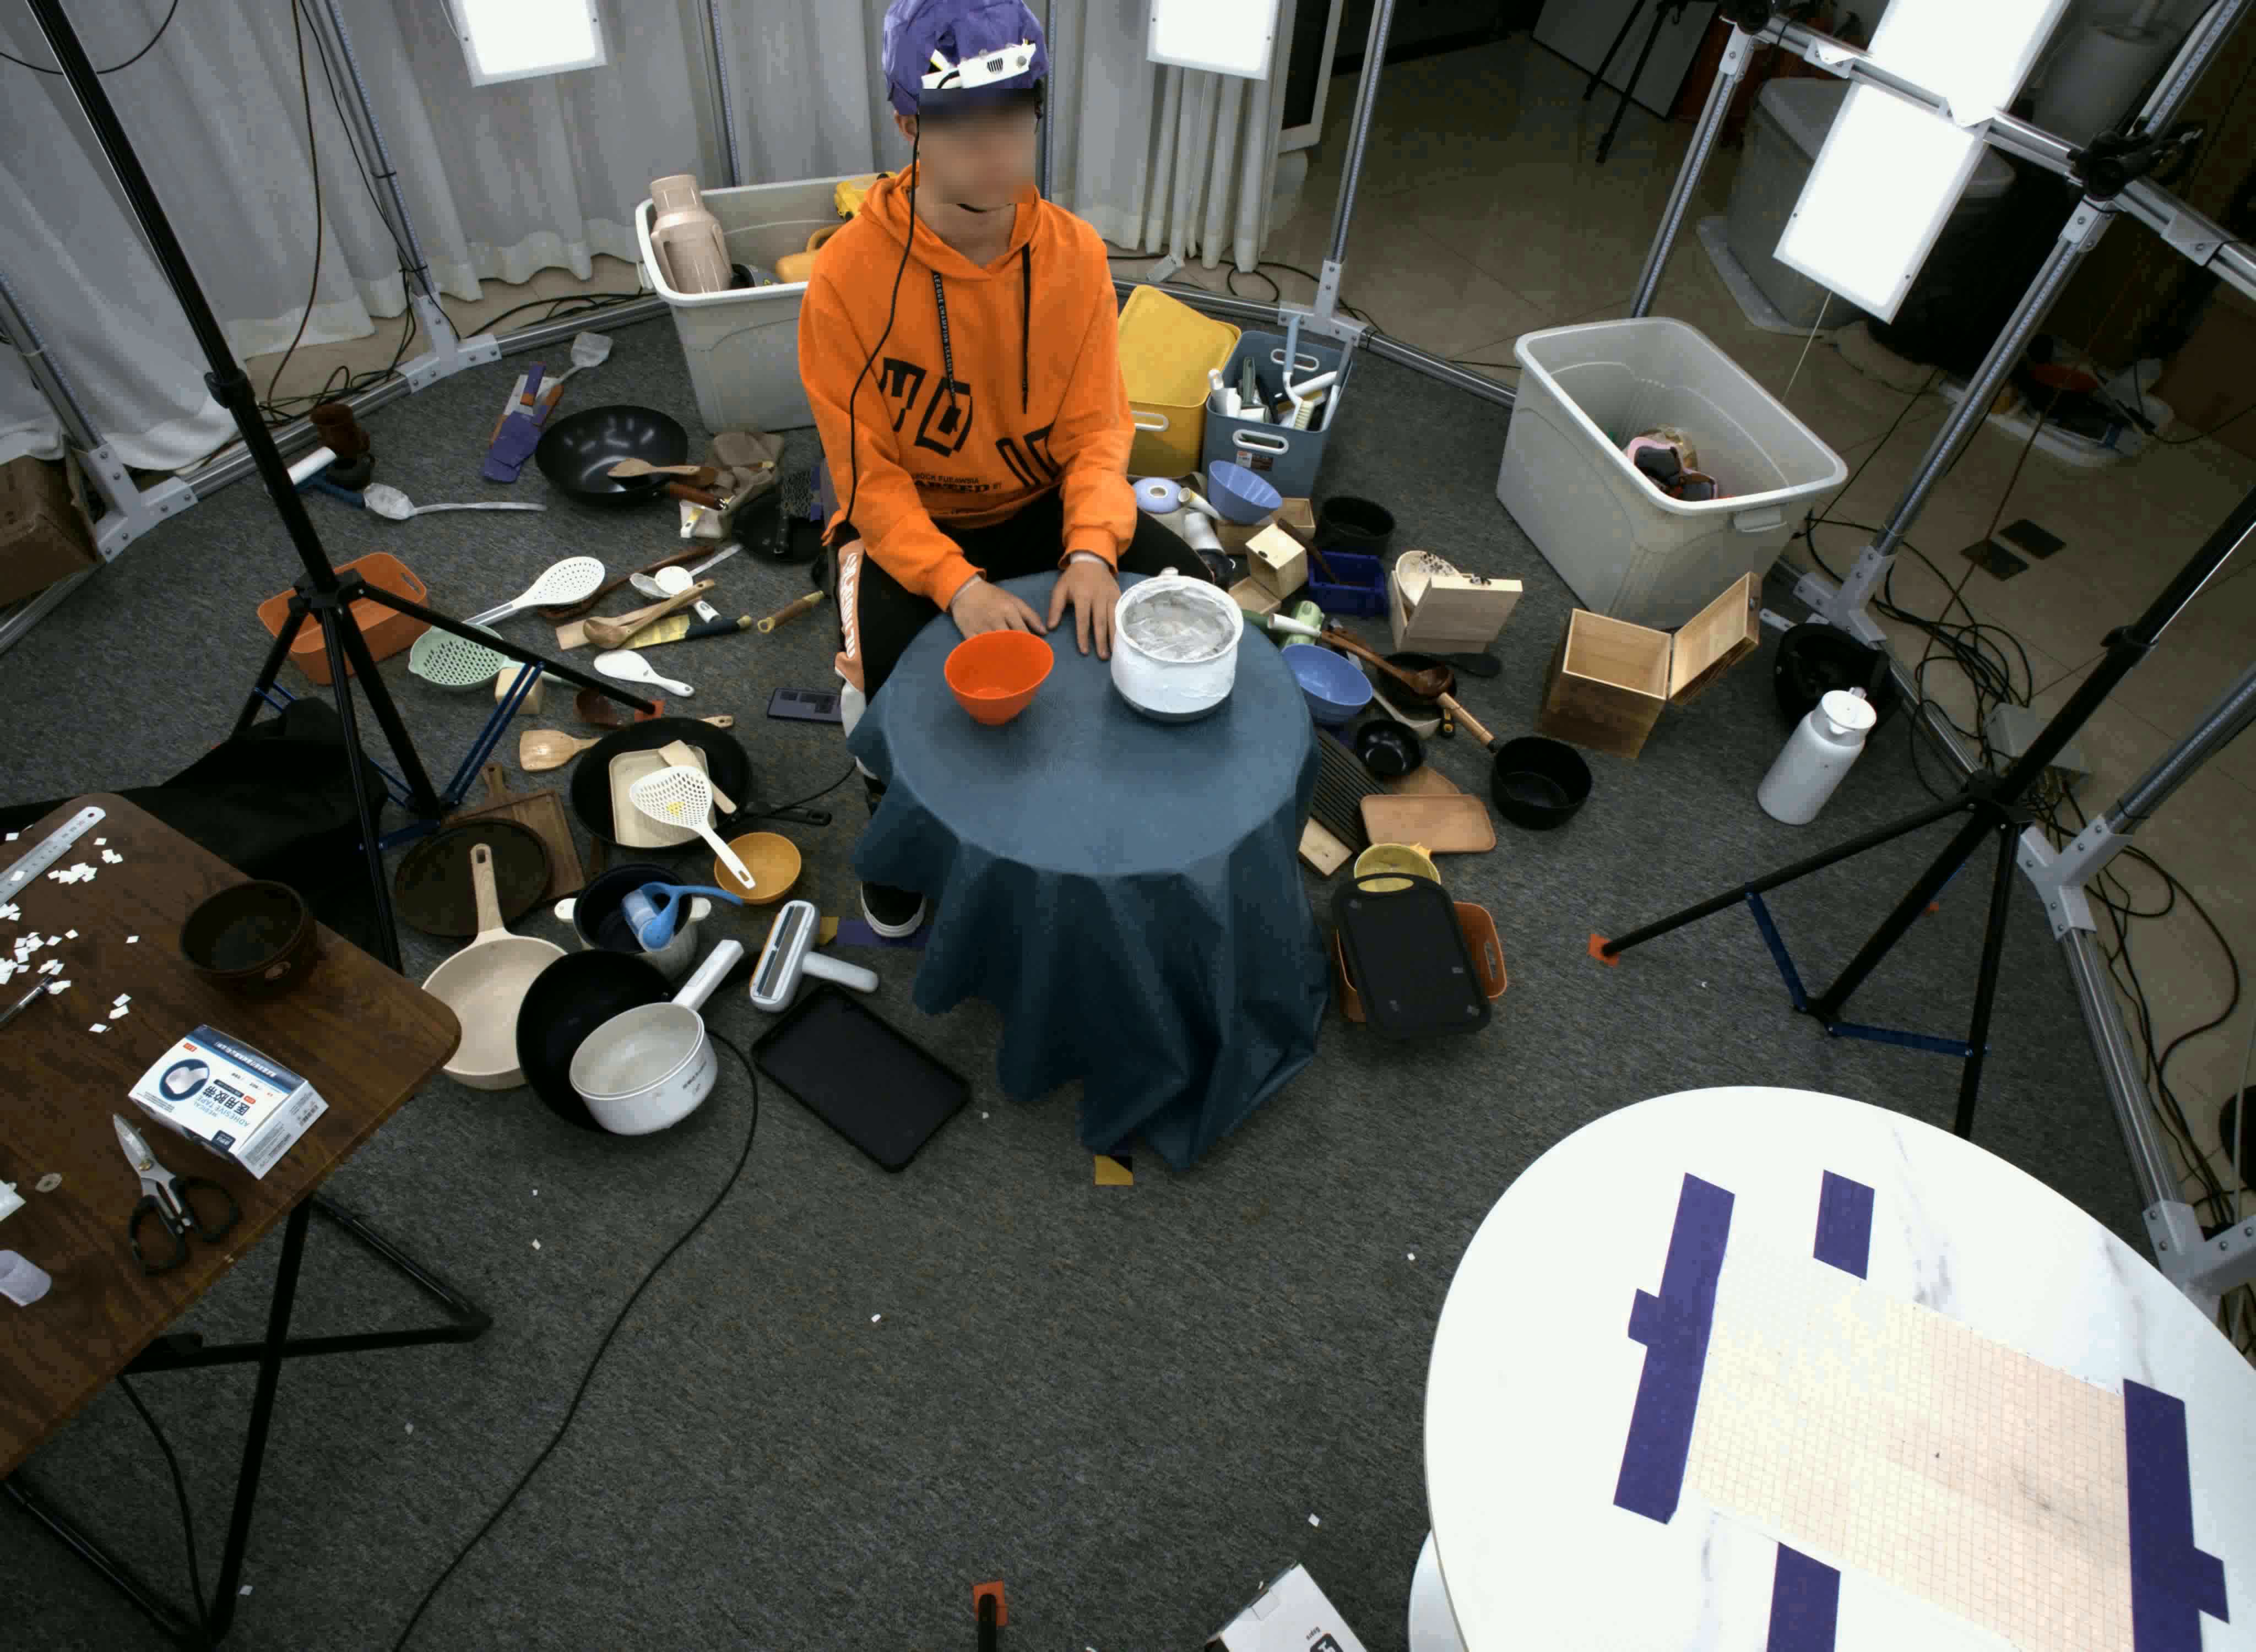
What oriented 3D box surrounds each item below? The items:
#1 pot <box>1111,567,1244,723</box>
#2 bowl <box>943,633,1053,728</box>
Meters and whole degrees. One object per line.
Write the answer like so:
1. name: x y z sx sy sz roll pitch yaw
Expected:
1. pot: 0.063 -0.265 1.814 0.178 0.133 0.239 -2 50 -7
2. bowl: -0.177 -0.189 1.760 0.148 0.102 0.152 1 48 -1
